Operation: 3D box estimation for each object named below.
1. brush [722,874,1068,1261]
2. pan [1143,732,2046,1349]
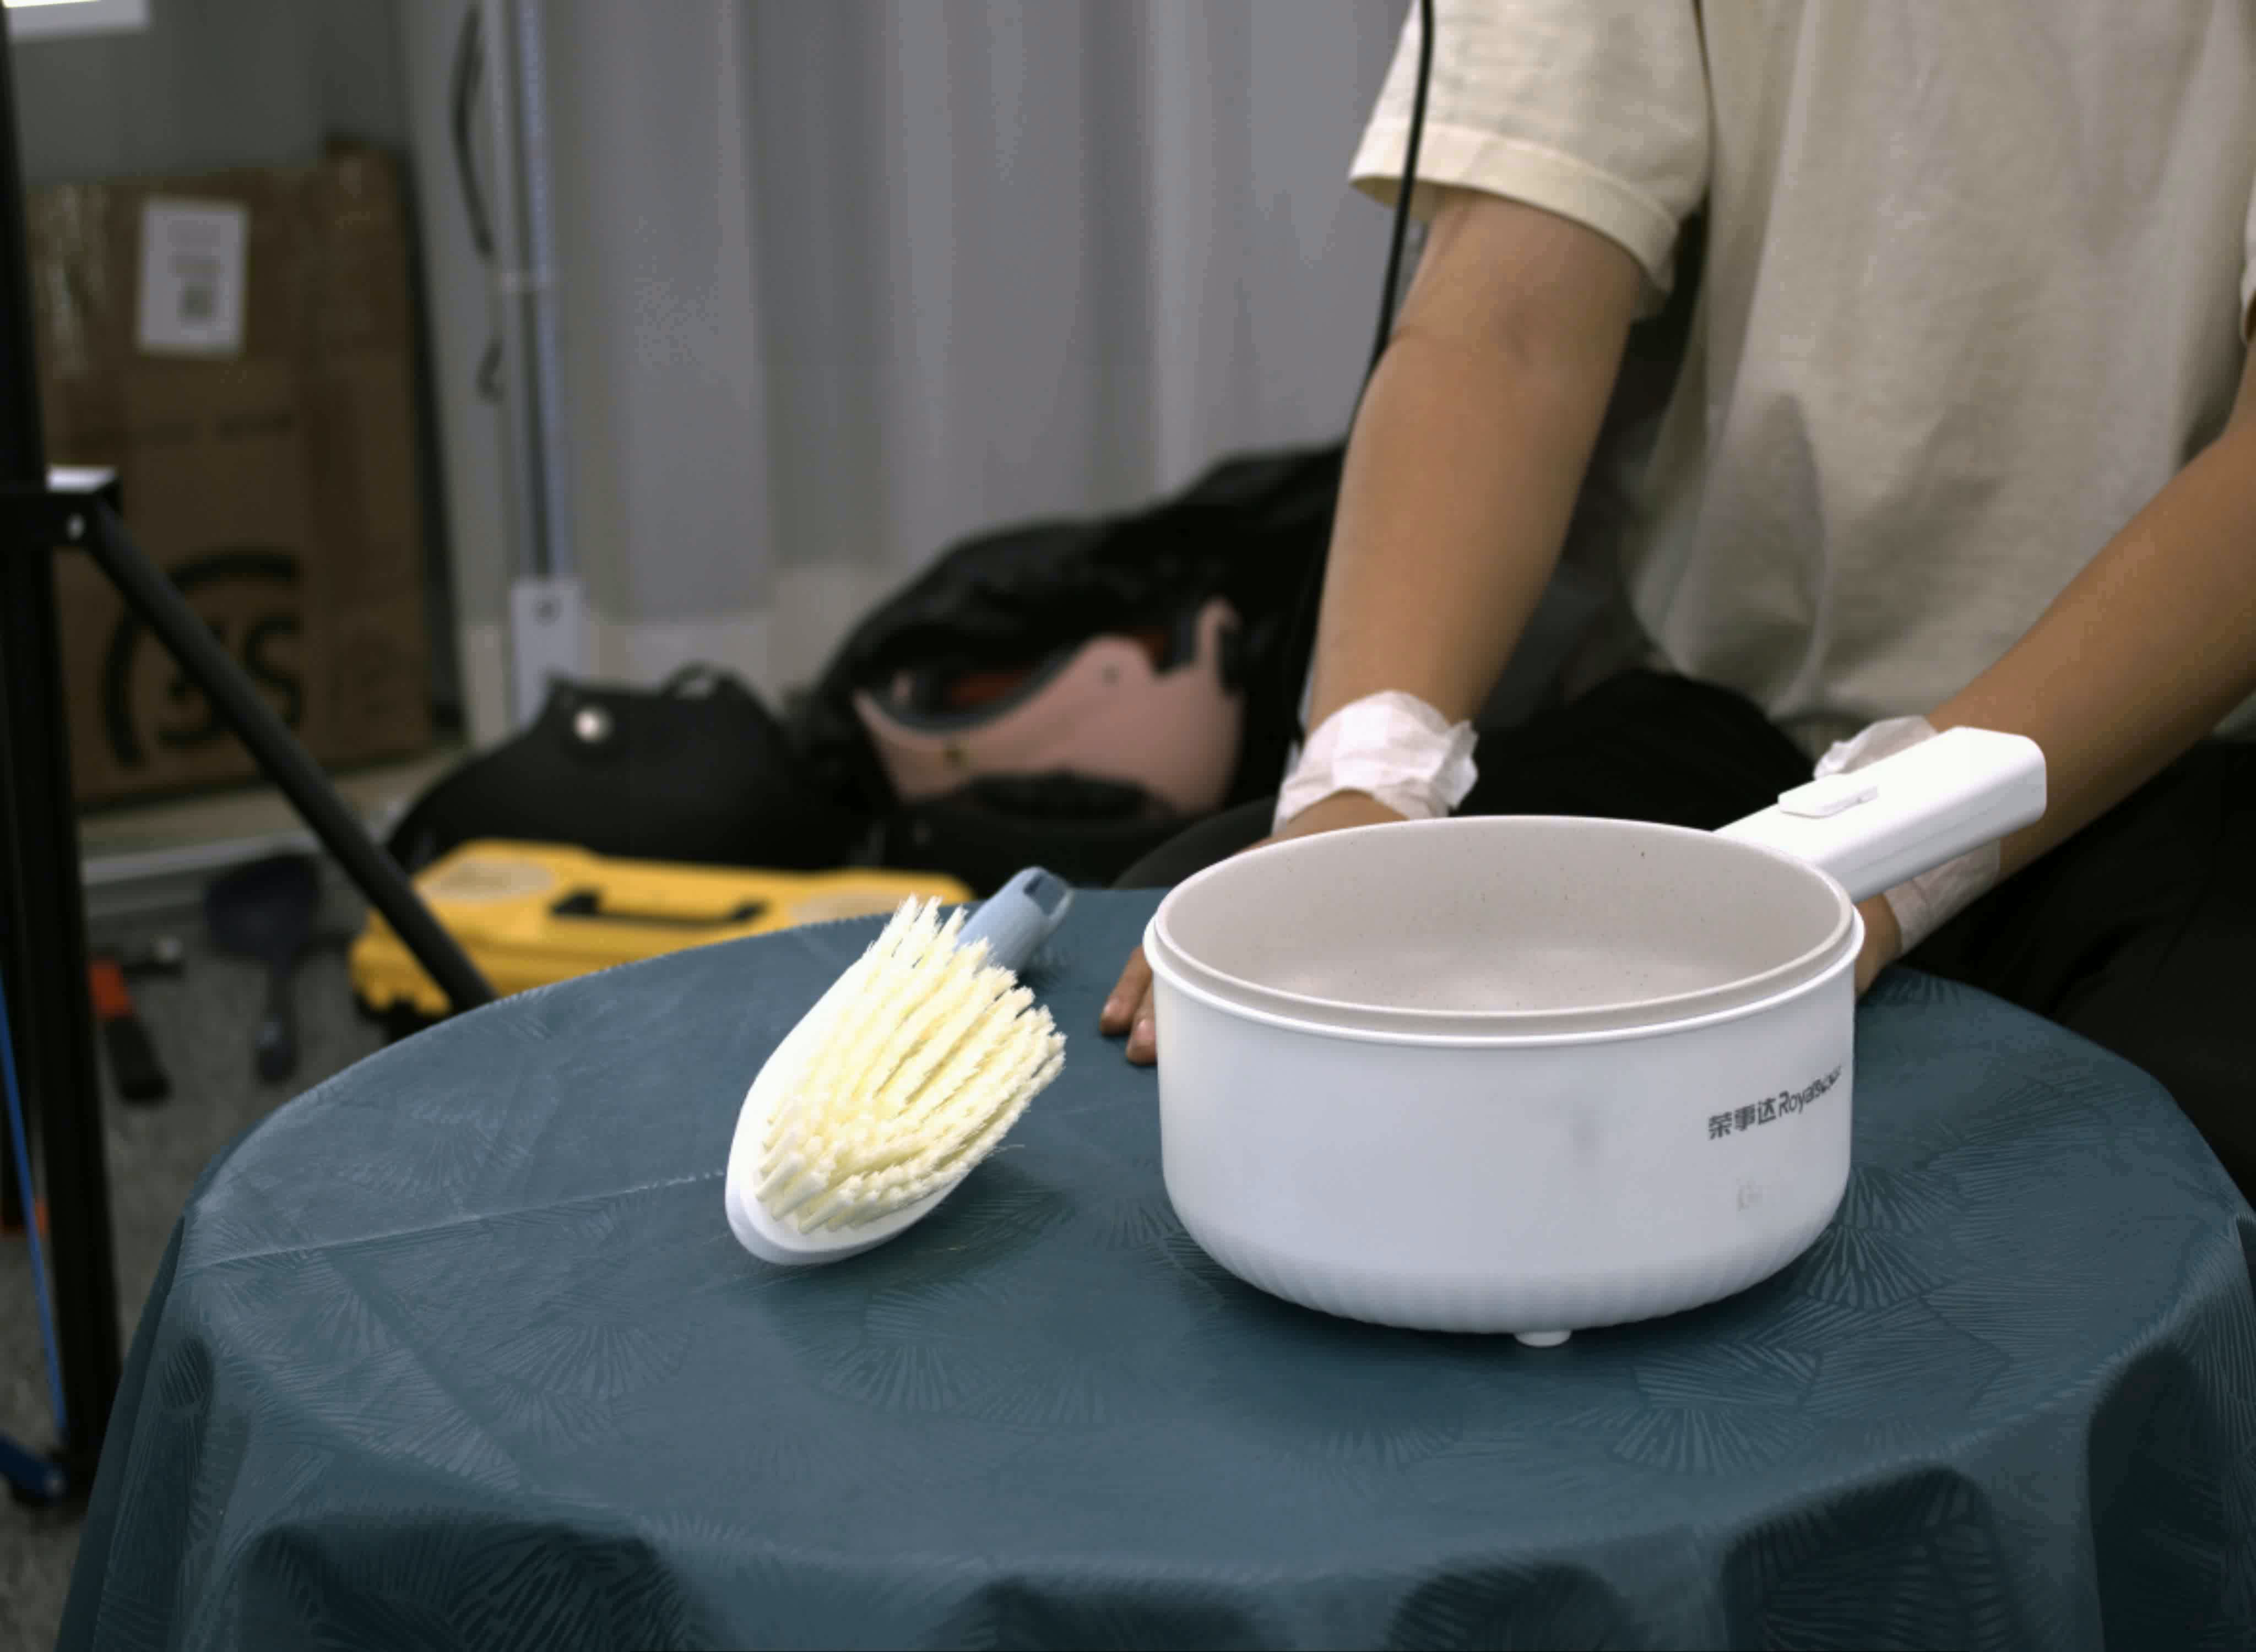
[{"bbox_3d":[-0.048,0.047,1.633,0.085,0.083,0.323,-2,16,15],"label":"brush"},{"bbox_3d":[0.155,0.056,1.537,0.205,0.102,0.347,10,19,41],"label":"pan"}]
